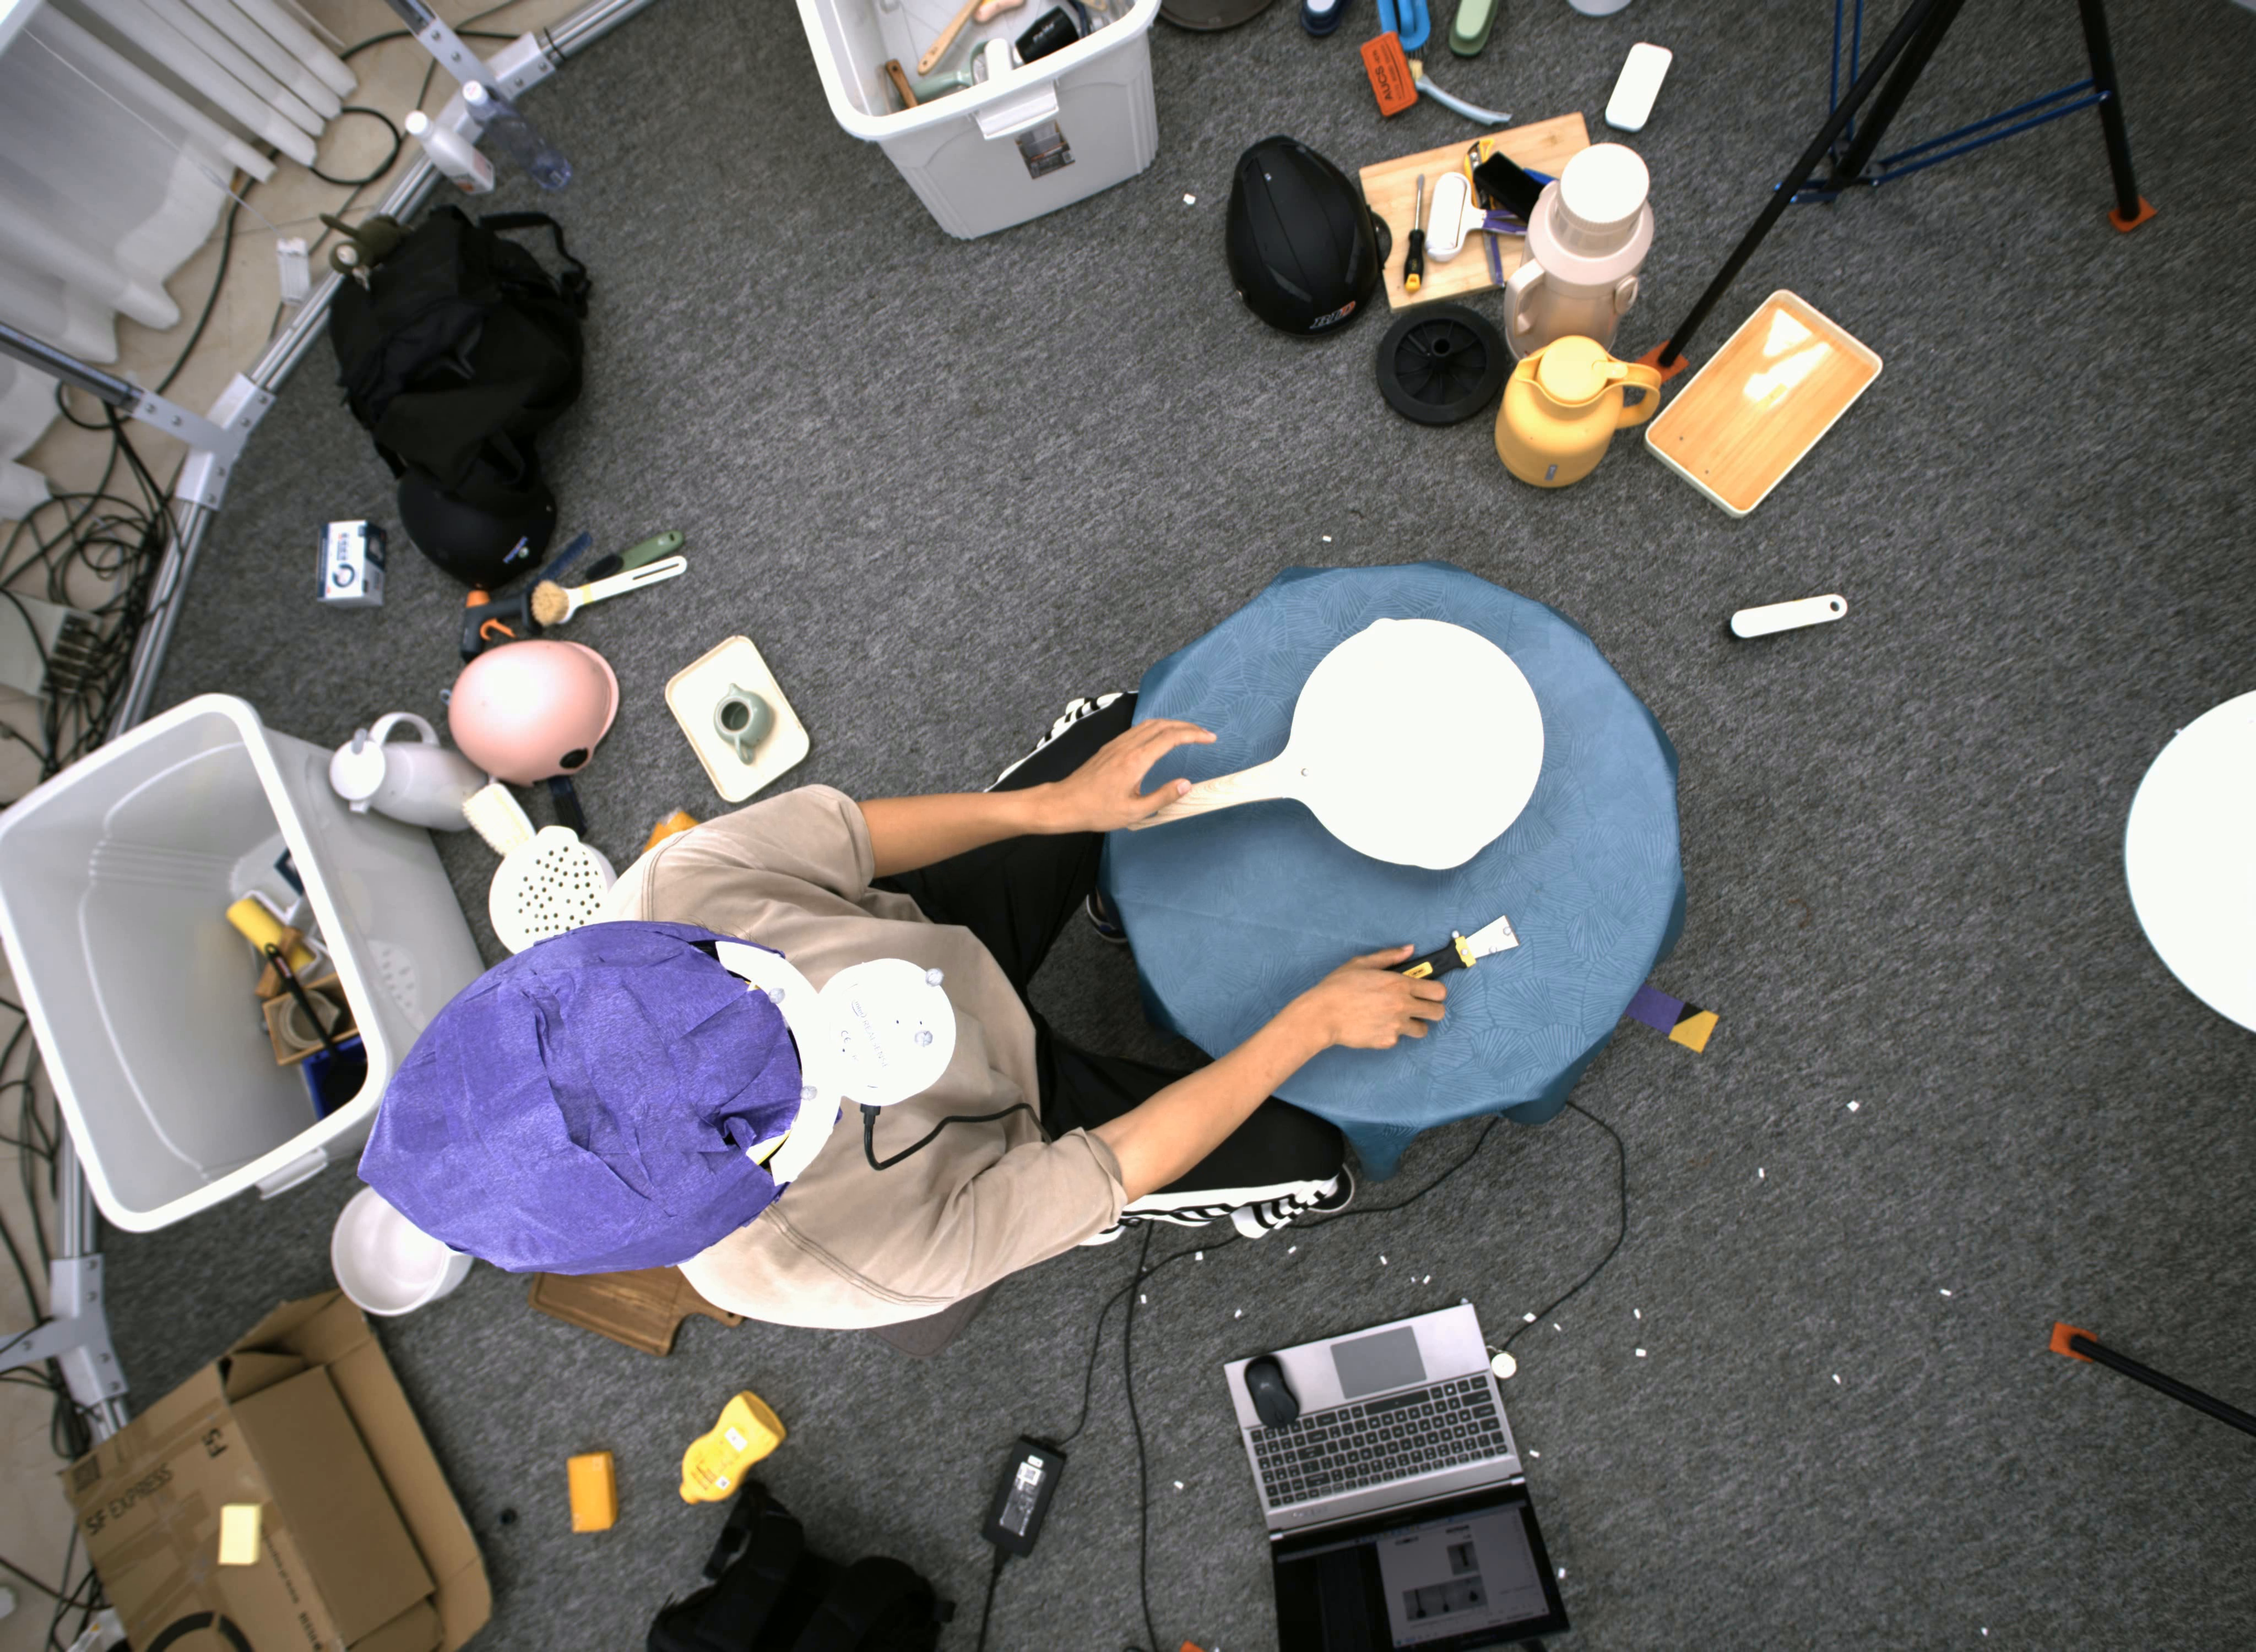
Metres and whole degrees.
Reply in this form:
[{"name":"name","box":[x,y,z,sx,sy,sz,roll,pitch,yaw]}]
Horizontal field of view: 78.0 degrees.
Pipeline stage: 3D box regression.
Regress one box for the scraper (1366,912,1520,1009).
[{"name":"scraper","box":[0.327,0.142,1.438,0.171,0.015,0.039,-27,89,5]}]

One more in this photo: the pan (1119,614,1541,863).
[{"name":"pan","box":[0.206,-0.064,1.434,0.437,0.102,0.262,-16,86,9]}]
